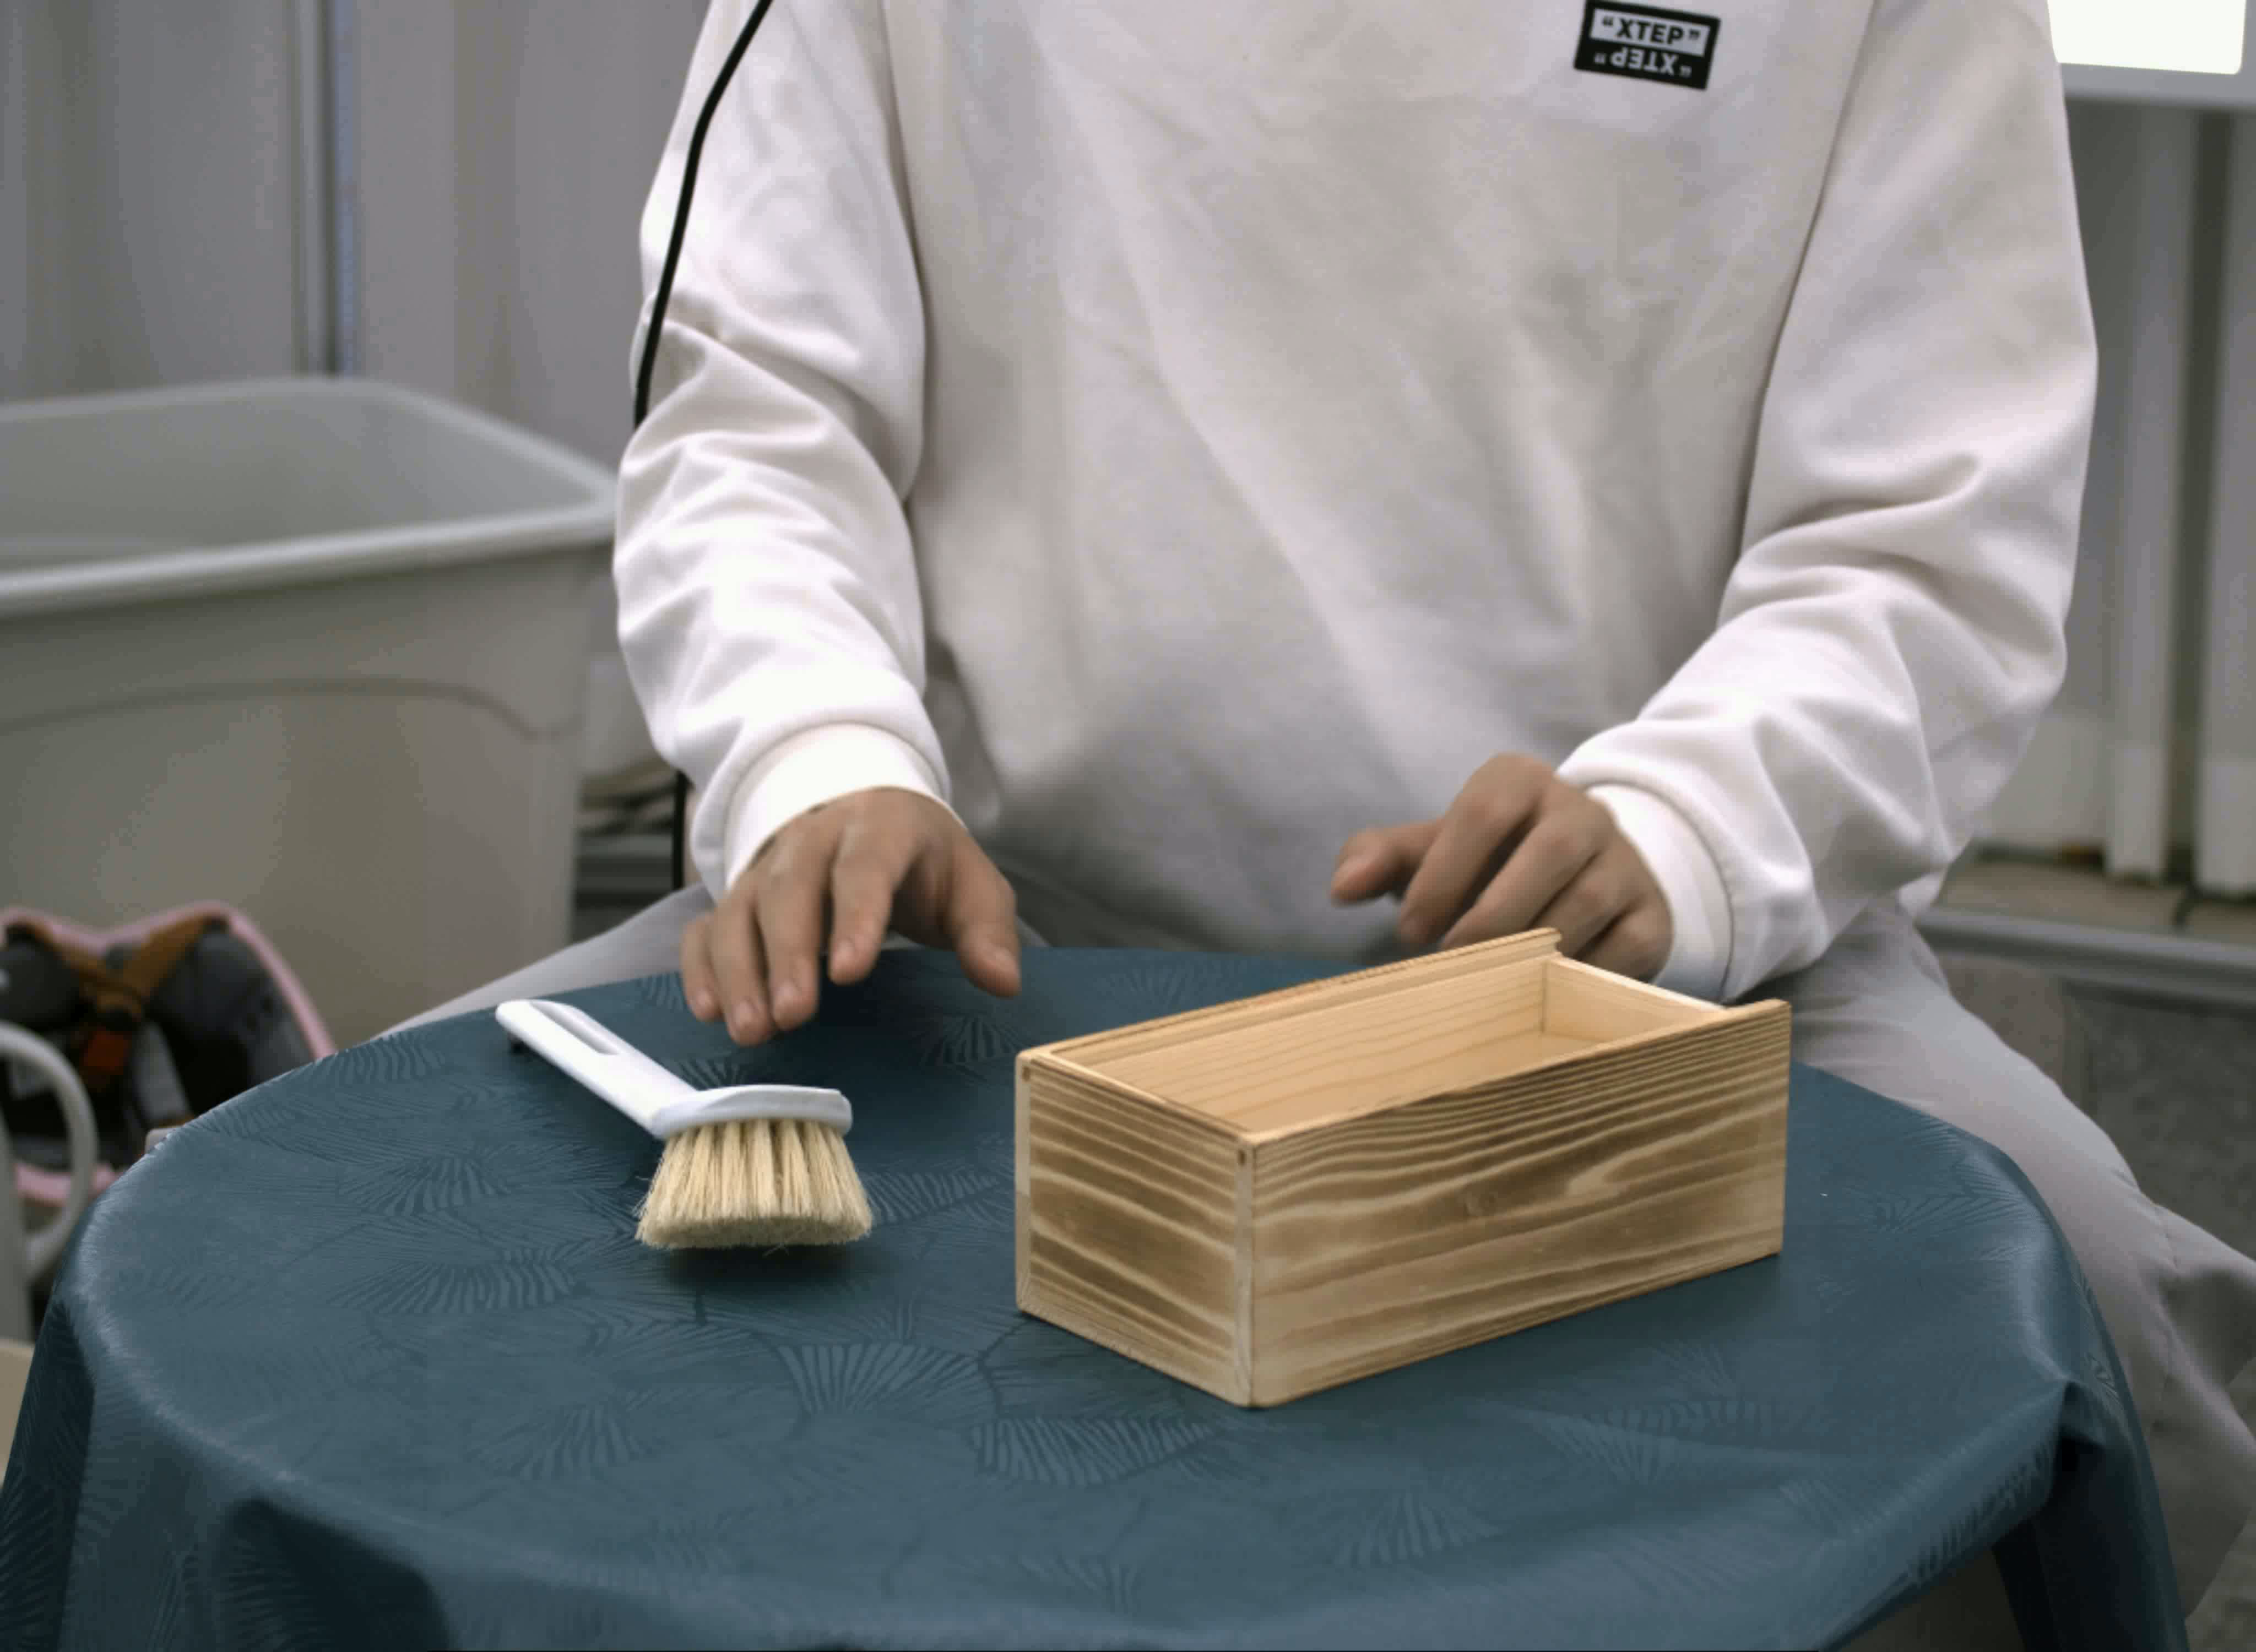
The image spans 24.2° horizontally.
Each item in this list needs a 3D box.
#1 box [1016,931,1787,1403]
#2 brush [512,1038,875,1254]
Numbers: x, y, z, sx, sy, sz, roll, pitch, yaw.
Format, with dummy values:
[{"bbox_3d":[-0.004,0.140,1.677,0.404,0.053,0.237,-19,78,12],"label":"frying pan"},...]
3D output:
[{"bbox_3d":[0.082,0.096,1.543,0.212,0.081,0.106,-12,19,-39],"label":"box"},{"bbox_3d":[-0.146,0.098,1.650,0.069,0.056,0.264,17,-8,-24],"label":"brush"}]
